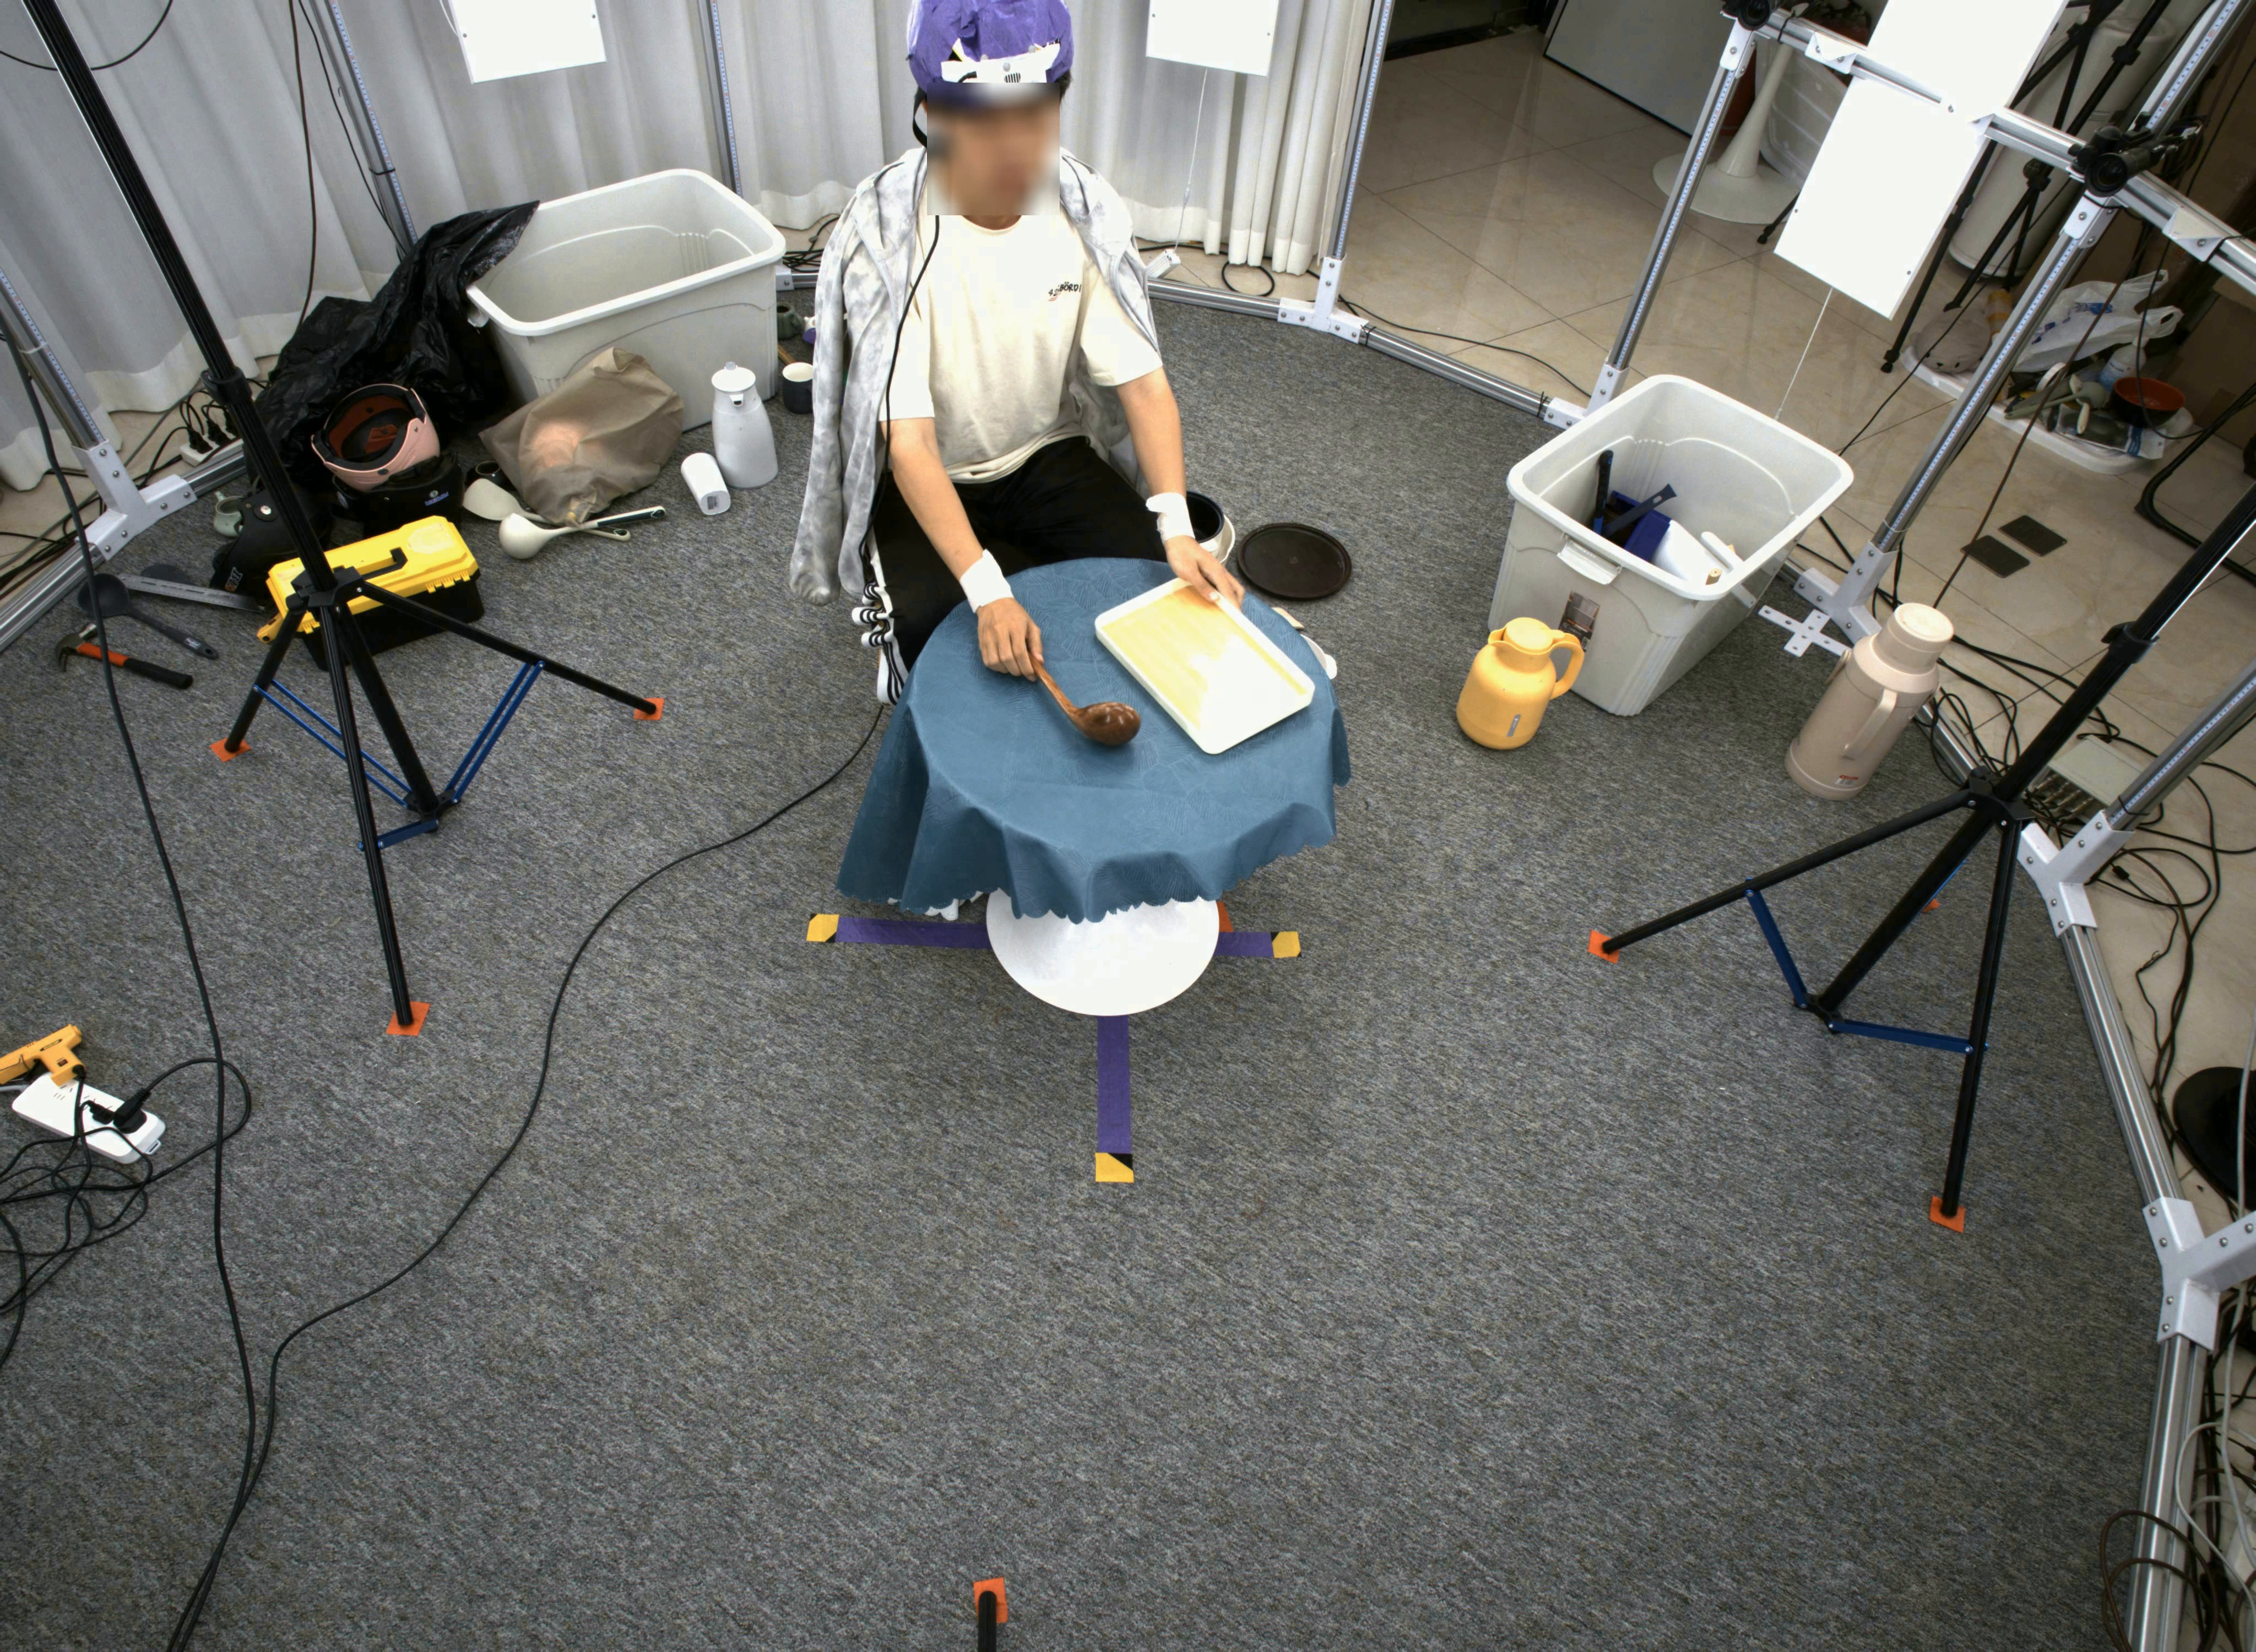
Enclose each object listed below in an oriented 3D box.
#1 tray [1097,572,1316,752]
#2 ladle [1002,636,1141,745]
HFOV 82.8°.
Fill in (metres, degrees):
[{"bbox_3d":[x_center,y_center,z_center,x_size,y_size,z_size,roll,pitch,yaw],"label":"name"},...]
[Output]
[{"bbox_3d":[0.108,-0.242,1.850,0.192,0.027,0.306,-28,56,-19],"label":"tray"},{"bbox_3d":[-0.080,-0.205,1.792,0.077,0.080,0.280,-32,52,-12],"label":"ladle"}]
